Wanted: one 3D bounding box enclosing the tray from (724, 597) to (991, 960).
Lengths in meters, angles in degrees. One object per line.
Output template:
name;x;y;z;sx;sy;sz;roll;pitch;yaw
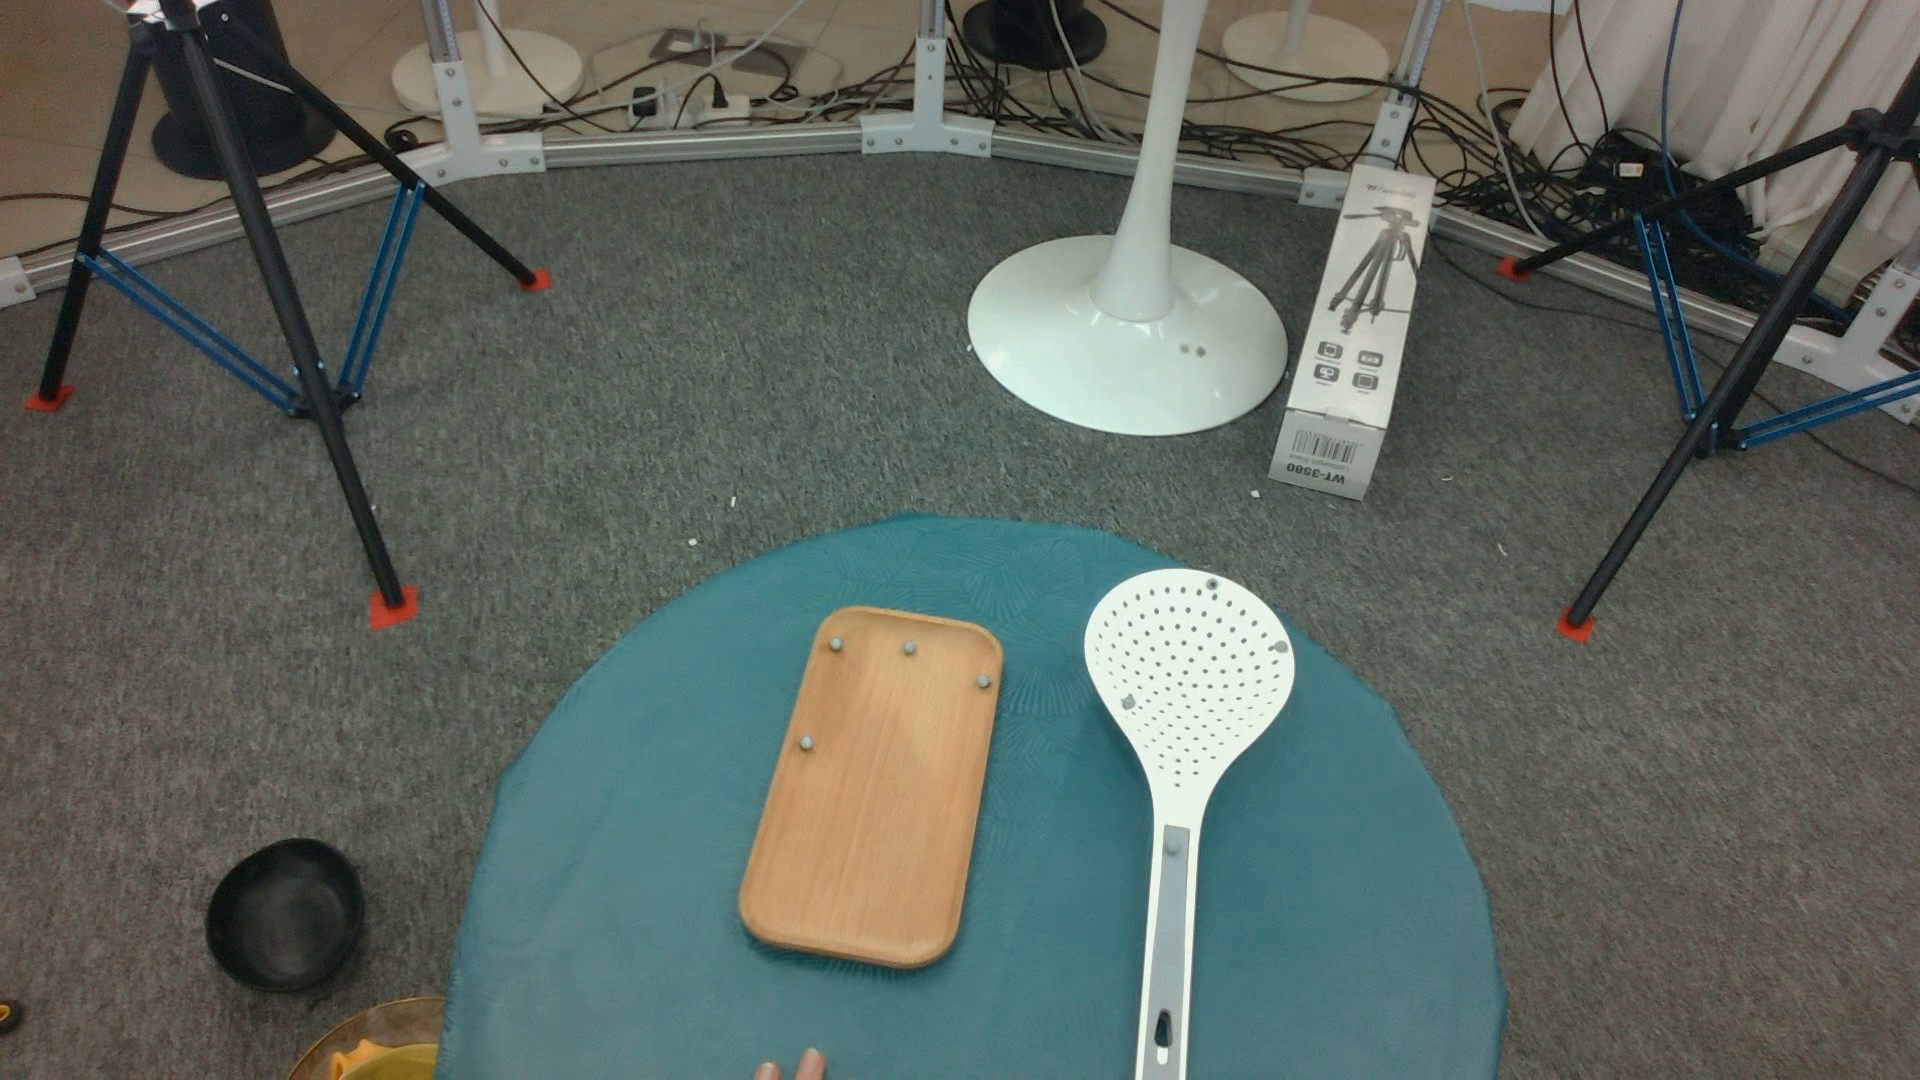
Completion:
tray;-0.057;0.138;0.852;0.130;0.023;0.252;8;47;4

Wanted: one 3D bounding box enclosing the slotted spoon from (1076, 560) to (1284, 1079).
slotted spoon;0.125;0.155;0.835;0.136;0.045;0.351;8;47;5
